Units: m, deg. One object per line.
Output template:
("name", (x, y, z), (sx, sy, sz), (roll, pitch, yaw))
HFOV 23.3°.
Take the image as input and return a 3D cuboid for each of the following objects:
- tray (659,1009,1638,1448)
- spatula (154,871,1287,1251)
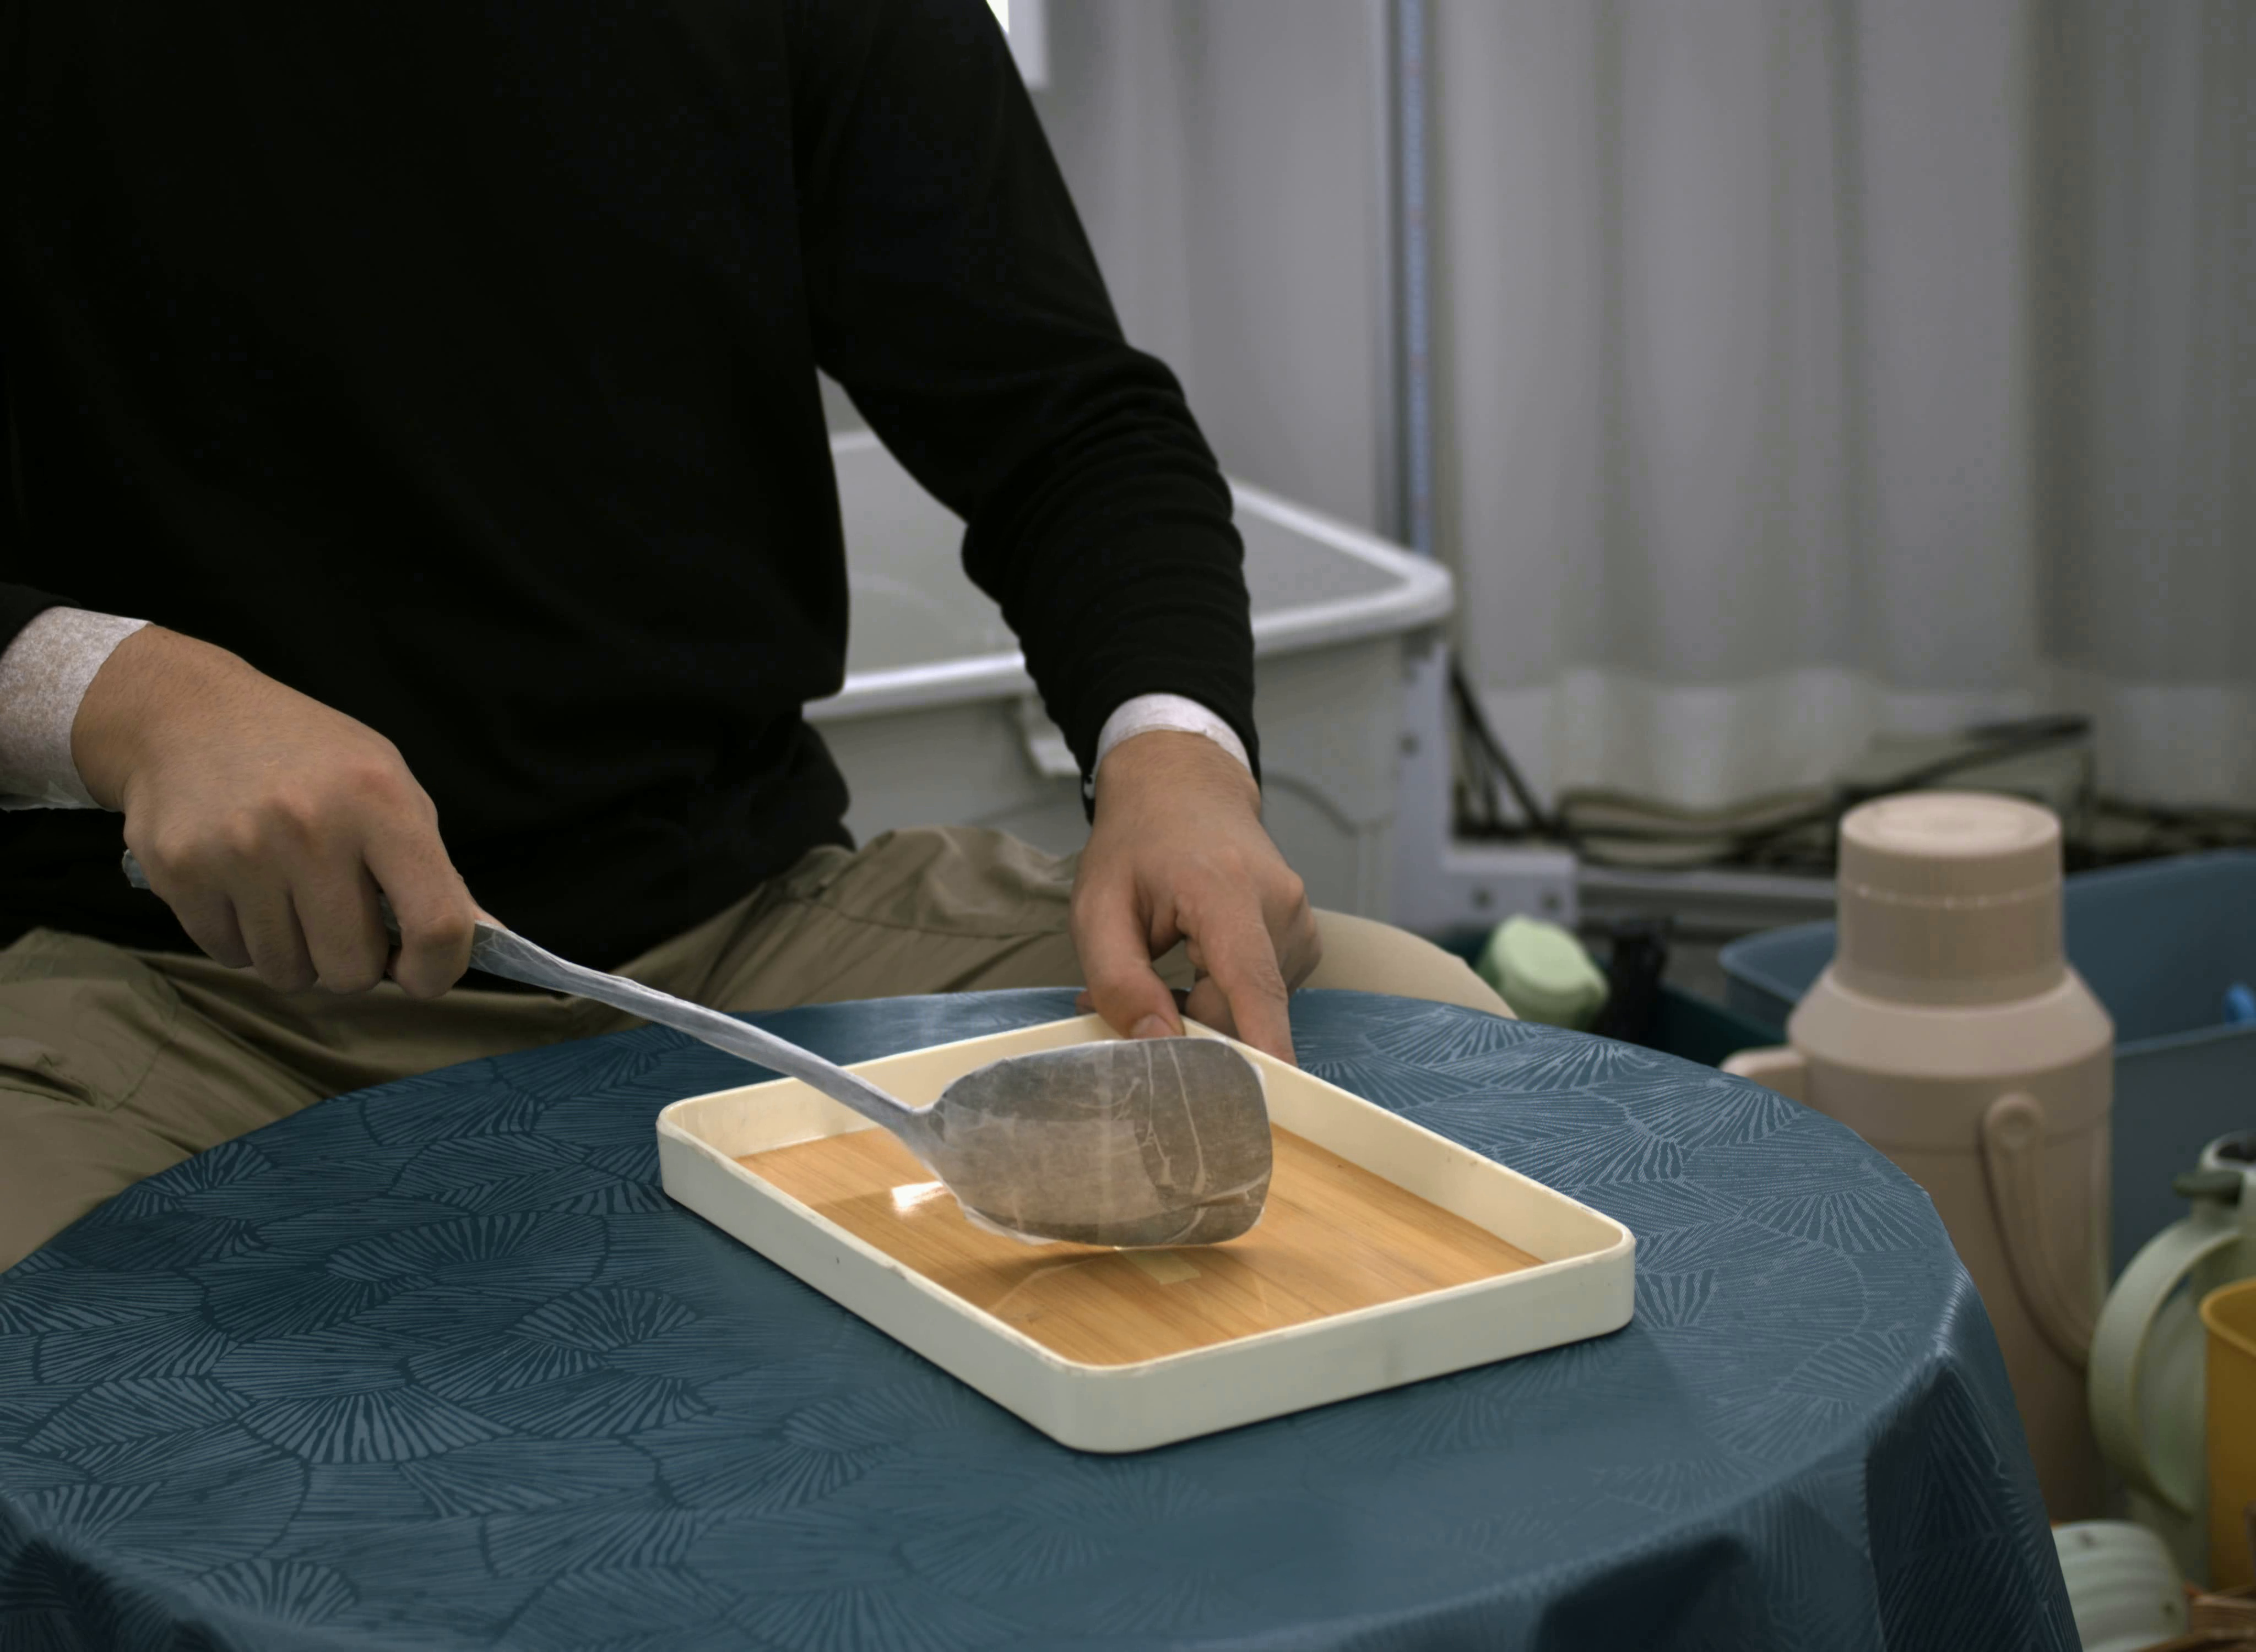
("tray", (0.000, 0.117, 1.654), (0.191, 0.027, 0.302), (-11, 17, -27))
("spatula", (-0.128, 0.058, 1.647), (0.366, 0.097, 0.045), (18, 50, 18))
